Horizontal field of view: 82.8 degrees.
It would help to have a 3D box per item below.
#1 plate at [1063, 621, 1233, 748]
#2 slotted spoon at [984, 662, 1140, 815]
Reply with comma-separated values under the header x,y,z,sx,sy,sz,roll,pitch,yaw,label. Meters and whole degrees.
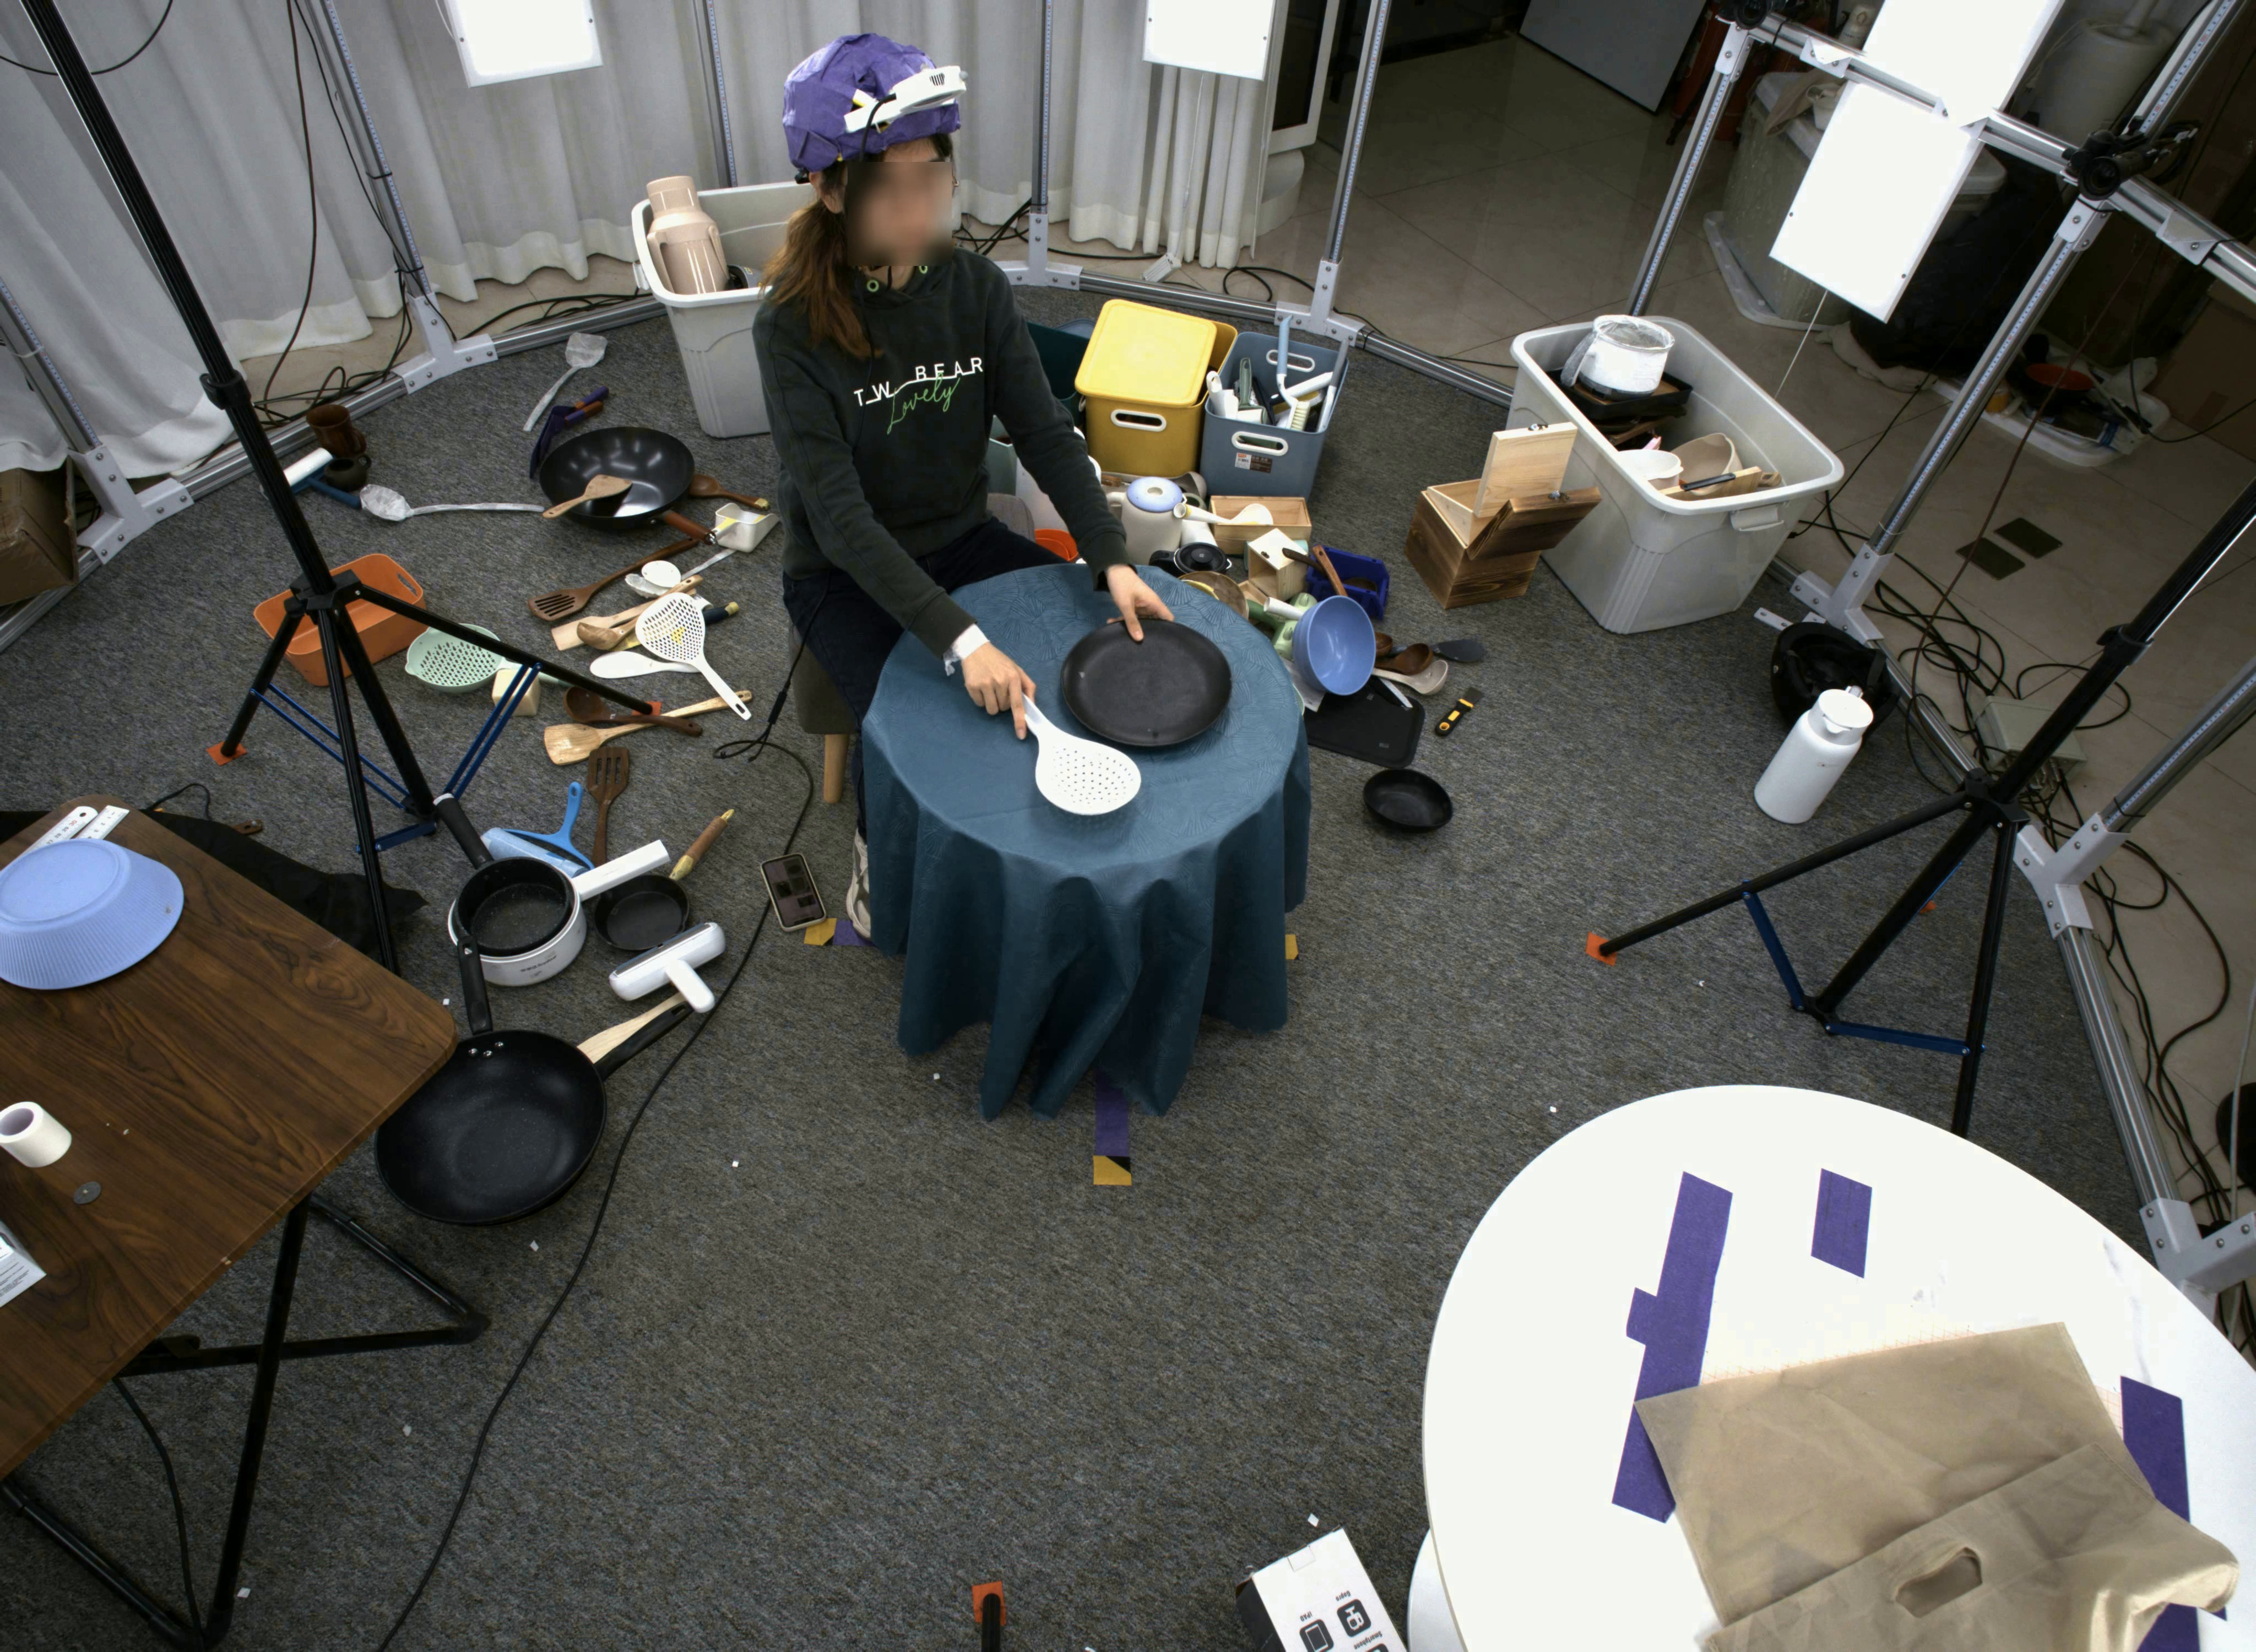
x,y,z,sx,sy,sz,roll,pitch,yaw,label
0.028,-0.201,1.837,0.244,0.023,0.250,0,52,0,plate
-0.109,-0.125,1.756,0.136,0.044,0.357,-18,51,-26,slotted spoon
